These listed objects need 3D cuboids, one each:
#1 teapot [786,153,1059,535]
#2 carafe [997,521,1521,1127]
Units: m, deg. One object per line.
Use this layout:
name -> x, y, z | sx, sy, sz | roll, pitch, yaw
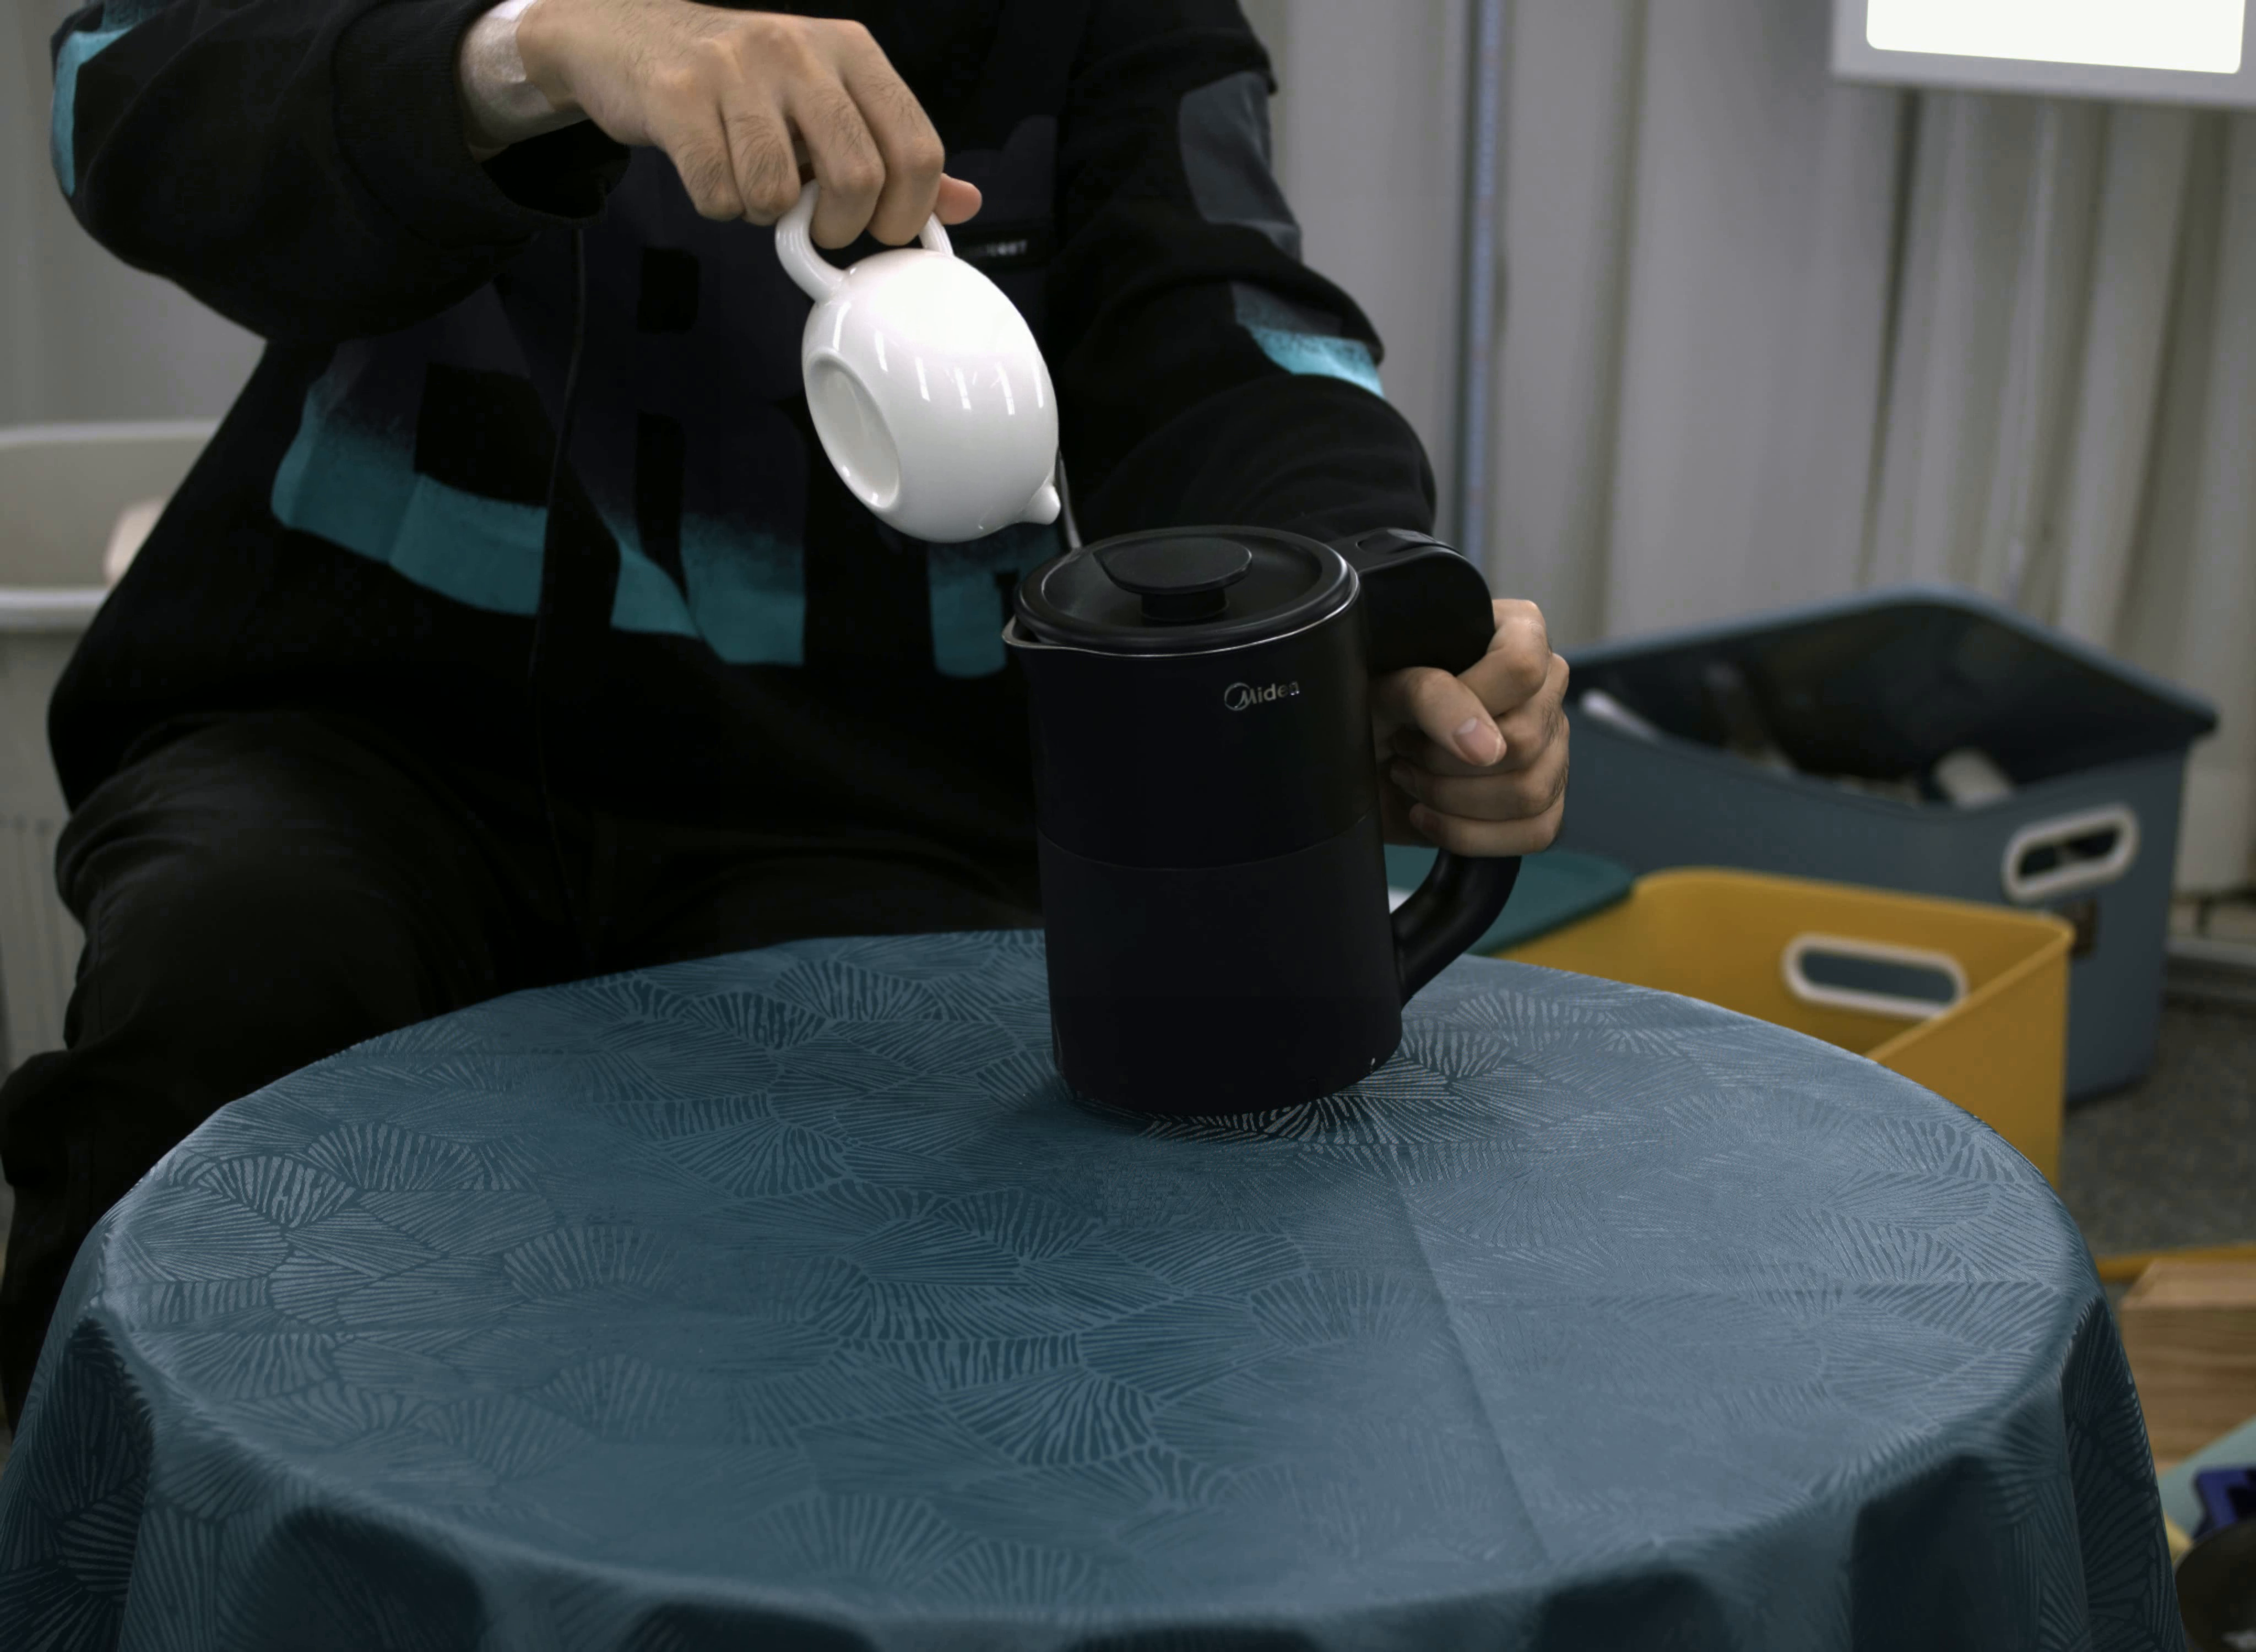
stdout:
teapot -> -0.065, -0.145, 1.605 | 0.057, 0.128, 0.092 | -26, 17, -24
carafe -> 0.044, -0.013, 1.686 | 0.172, 0.175, 0.113 | -18, 24, -25
